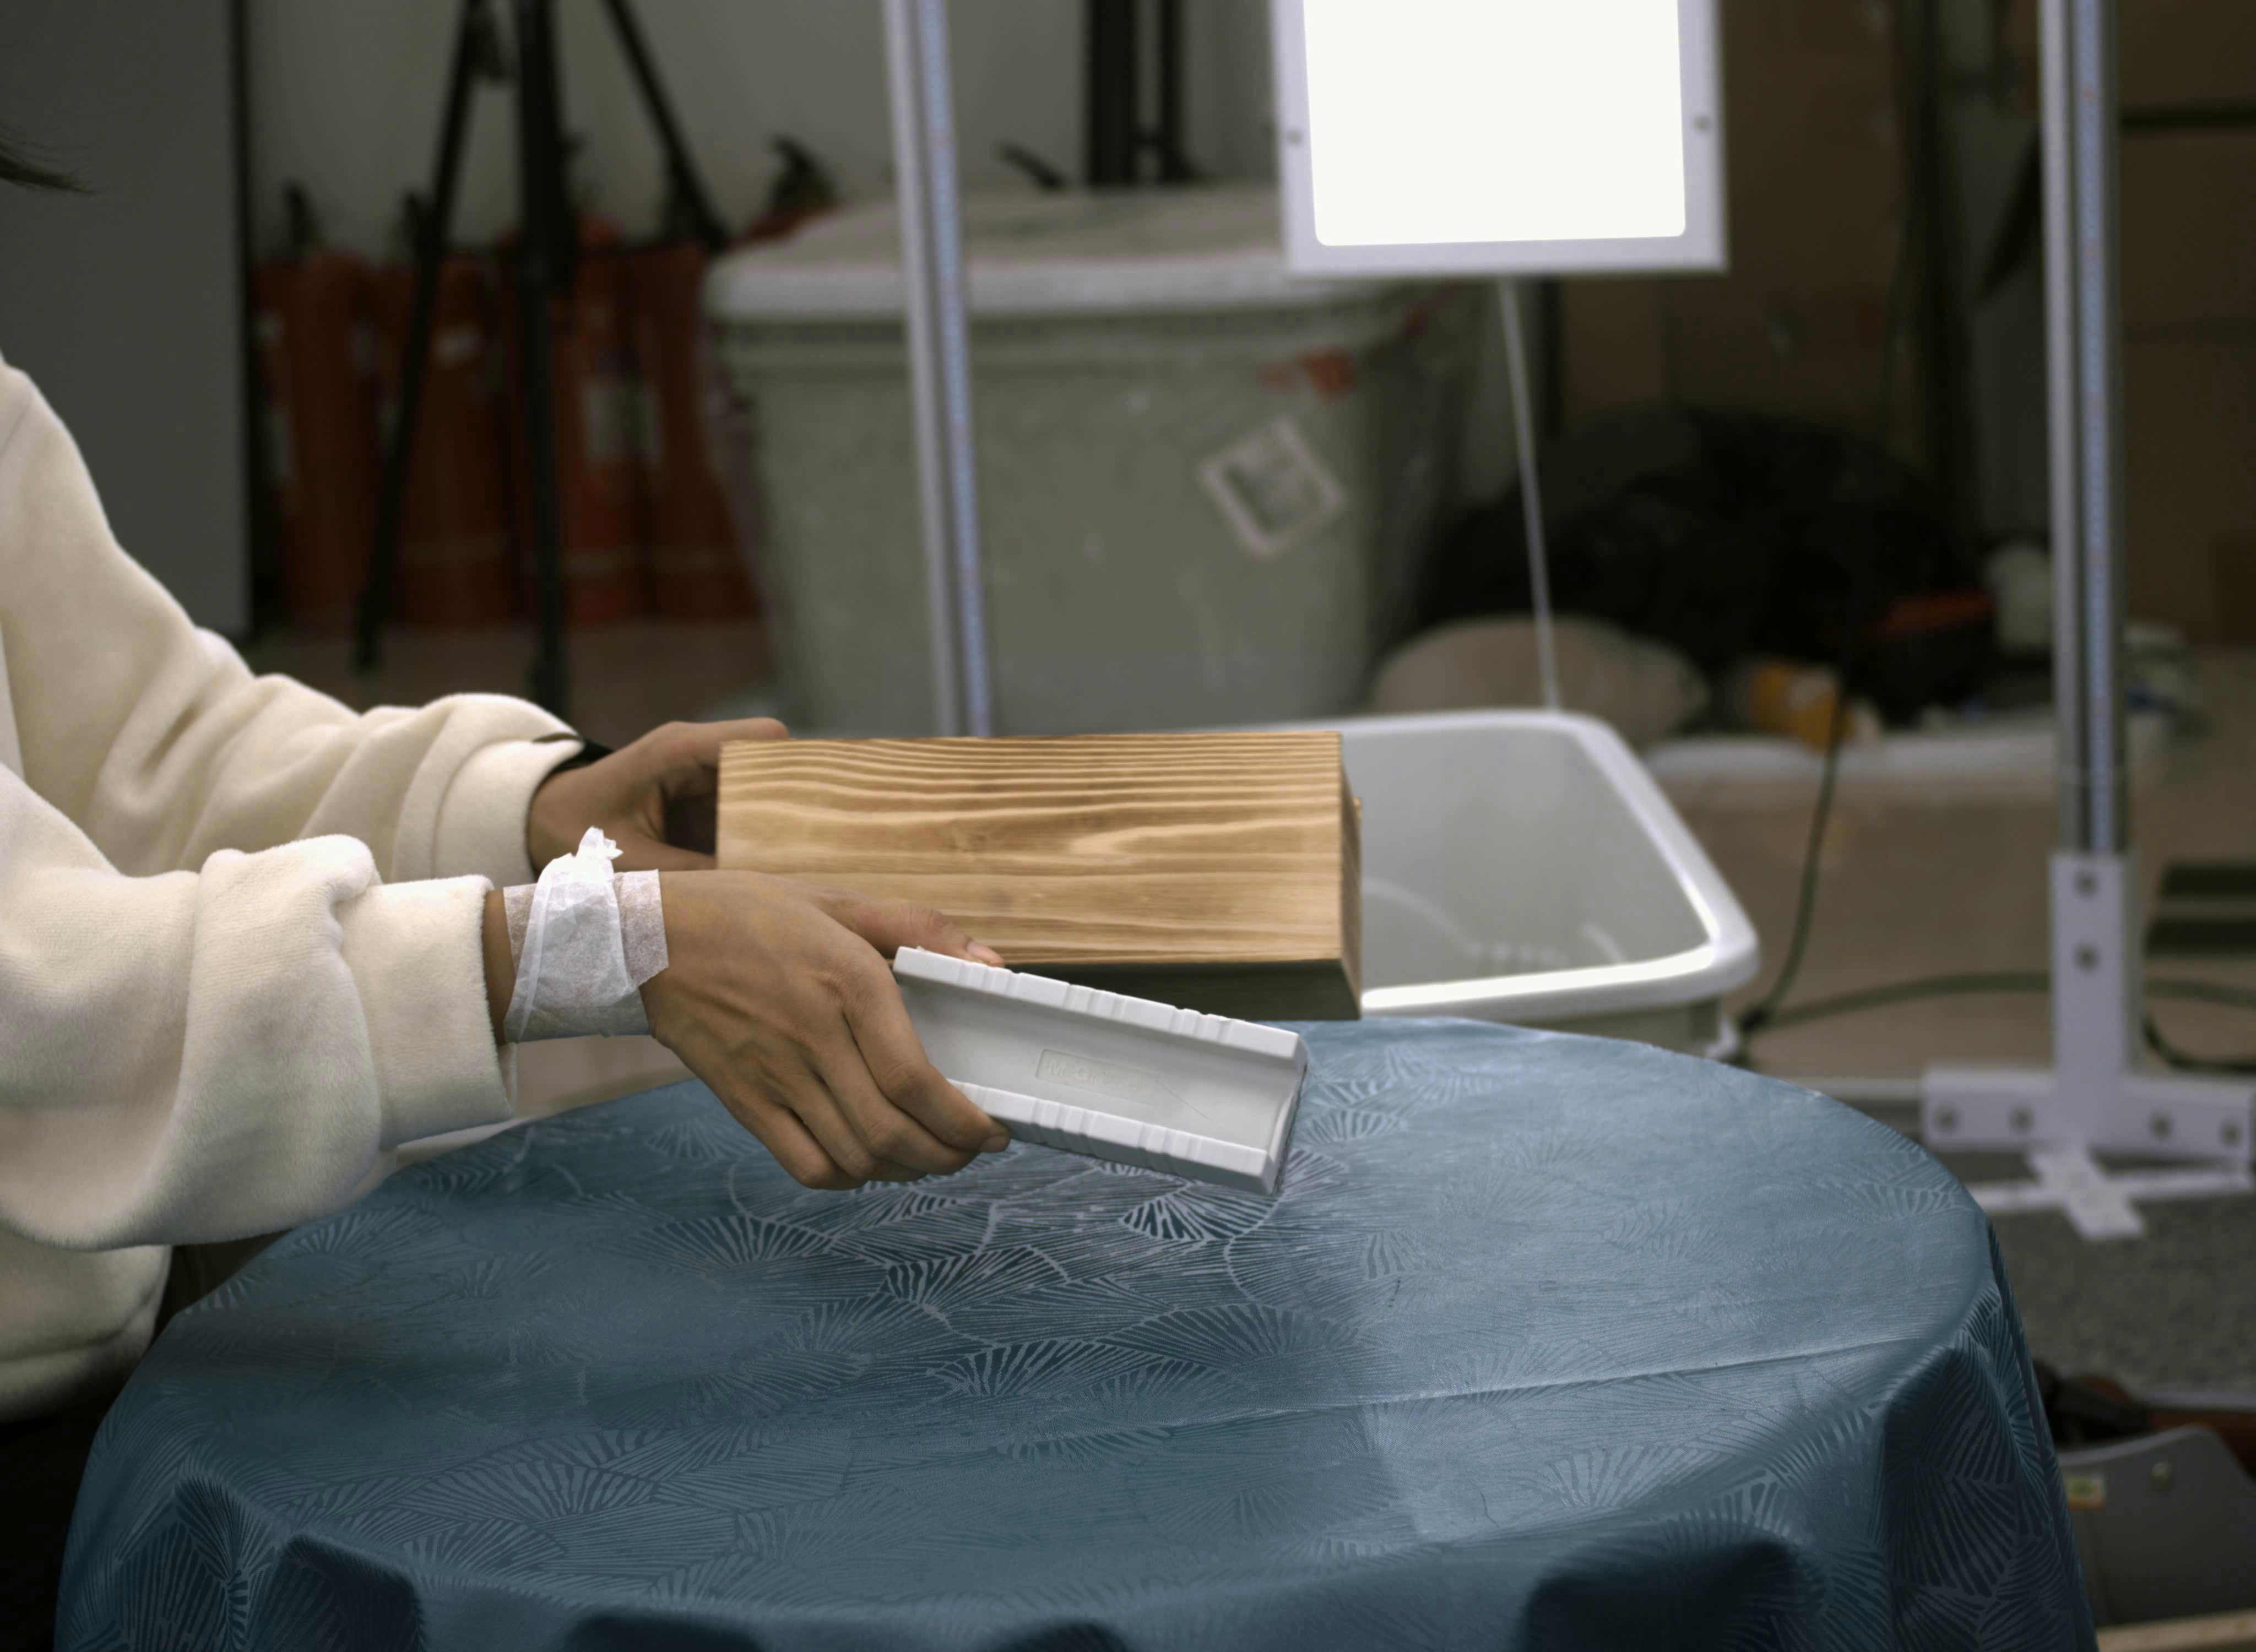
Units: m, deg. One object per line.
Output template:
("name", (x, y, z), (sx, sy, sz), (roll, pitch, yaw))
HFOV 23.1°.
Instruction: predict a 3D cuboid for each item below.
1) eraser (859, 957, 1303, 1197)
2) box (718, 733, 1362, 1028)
("eraser", (-0.014, 0.080, 1.752), (0.135, 0.049, 0.046), (10, -13, 12))
("box", (-0.028, 0.020, 1.886), (0.212, 0.080, 0.107), (0, -13, 8))
